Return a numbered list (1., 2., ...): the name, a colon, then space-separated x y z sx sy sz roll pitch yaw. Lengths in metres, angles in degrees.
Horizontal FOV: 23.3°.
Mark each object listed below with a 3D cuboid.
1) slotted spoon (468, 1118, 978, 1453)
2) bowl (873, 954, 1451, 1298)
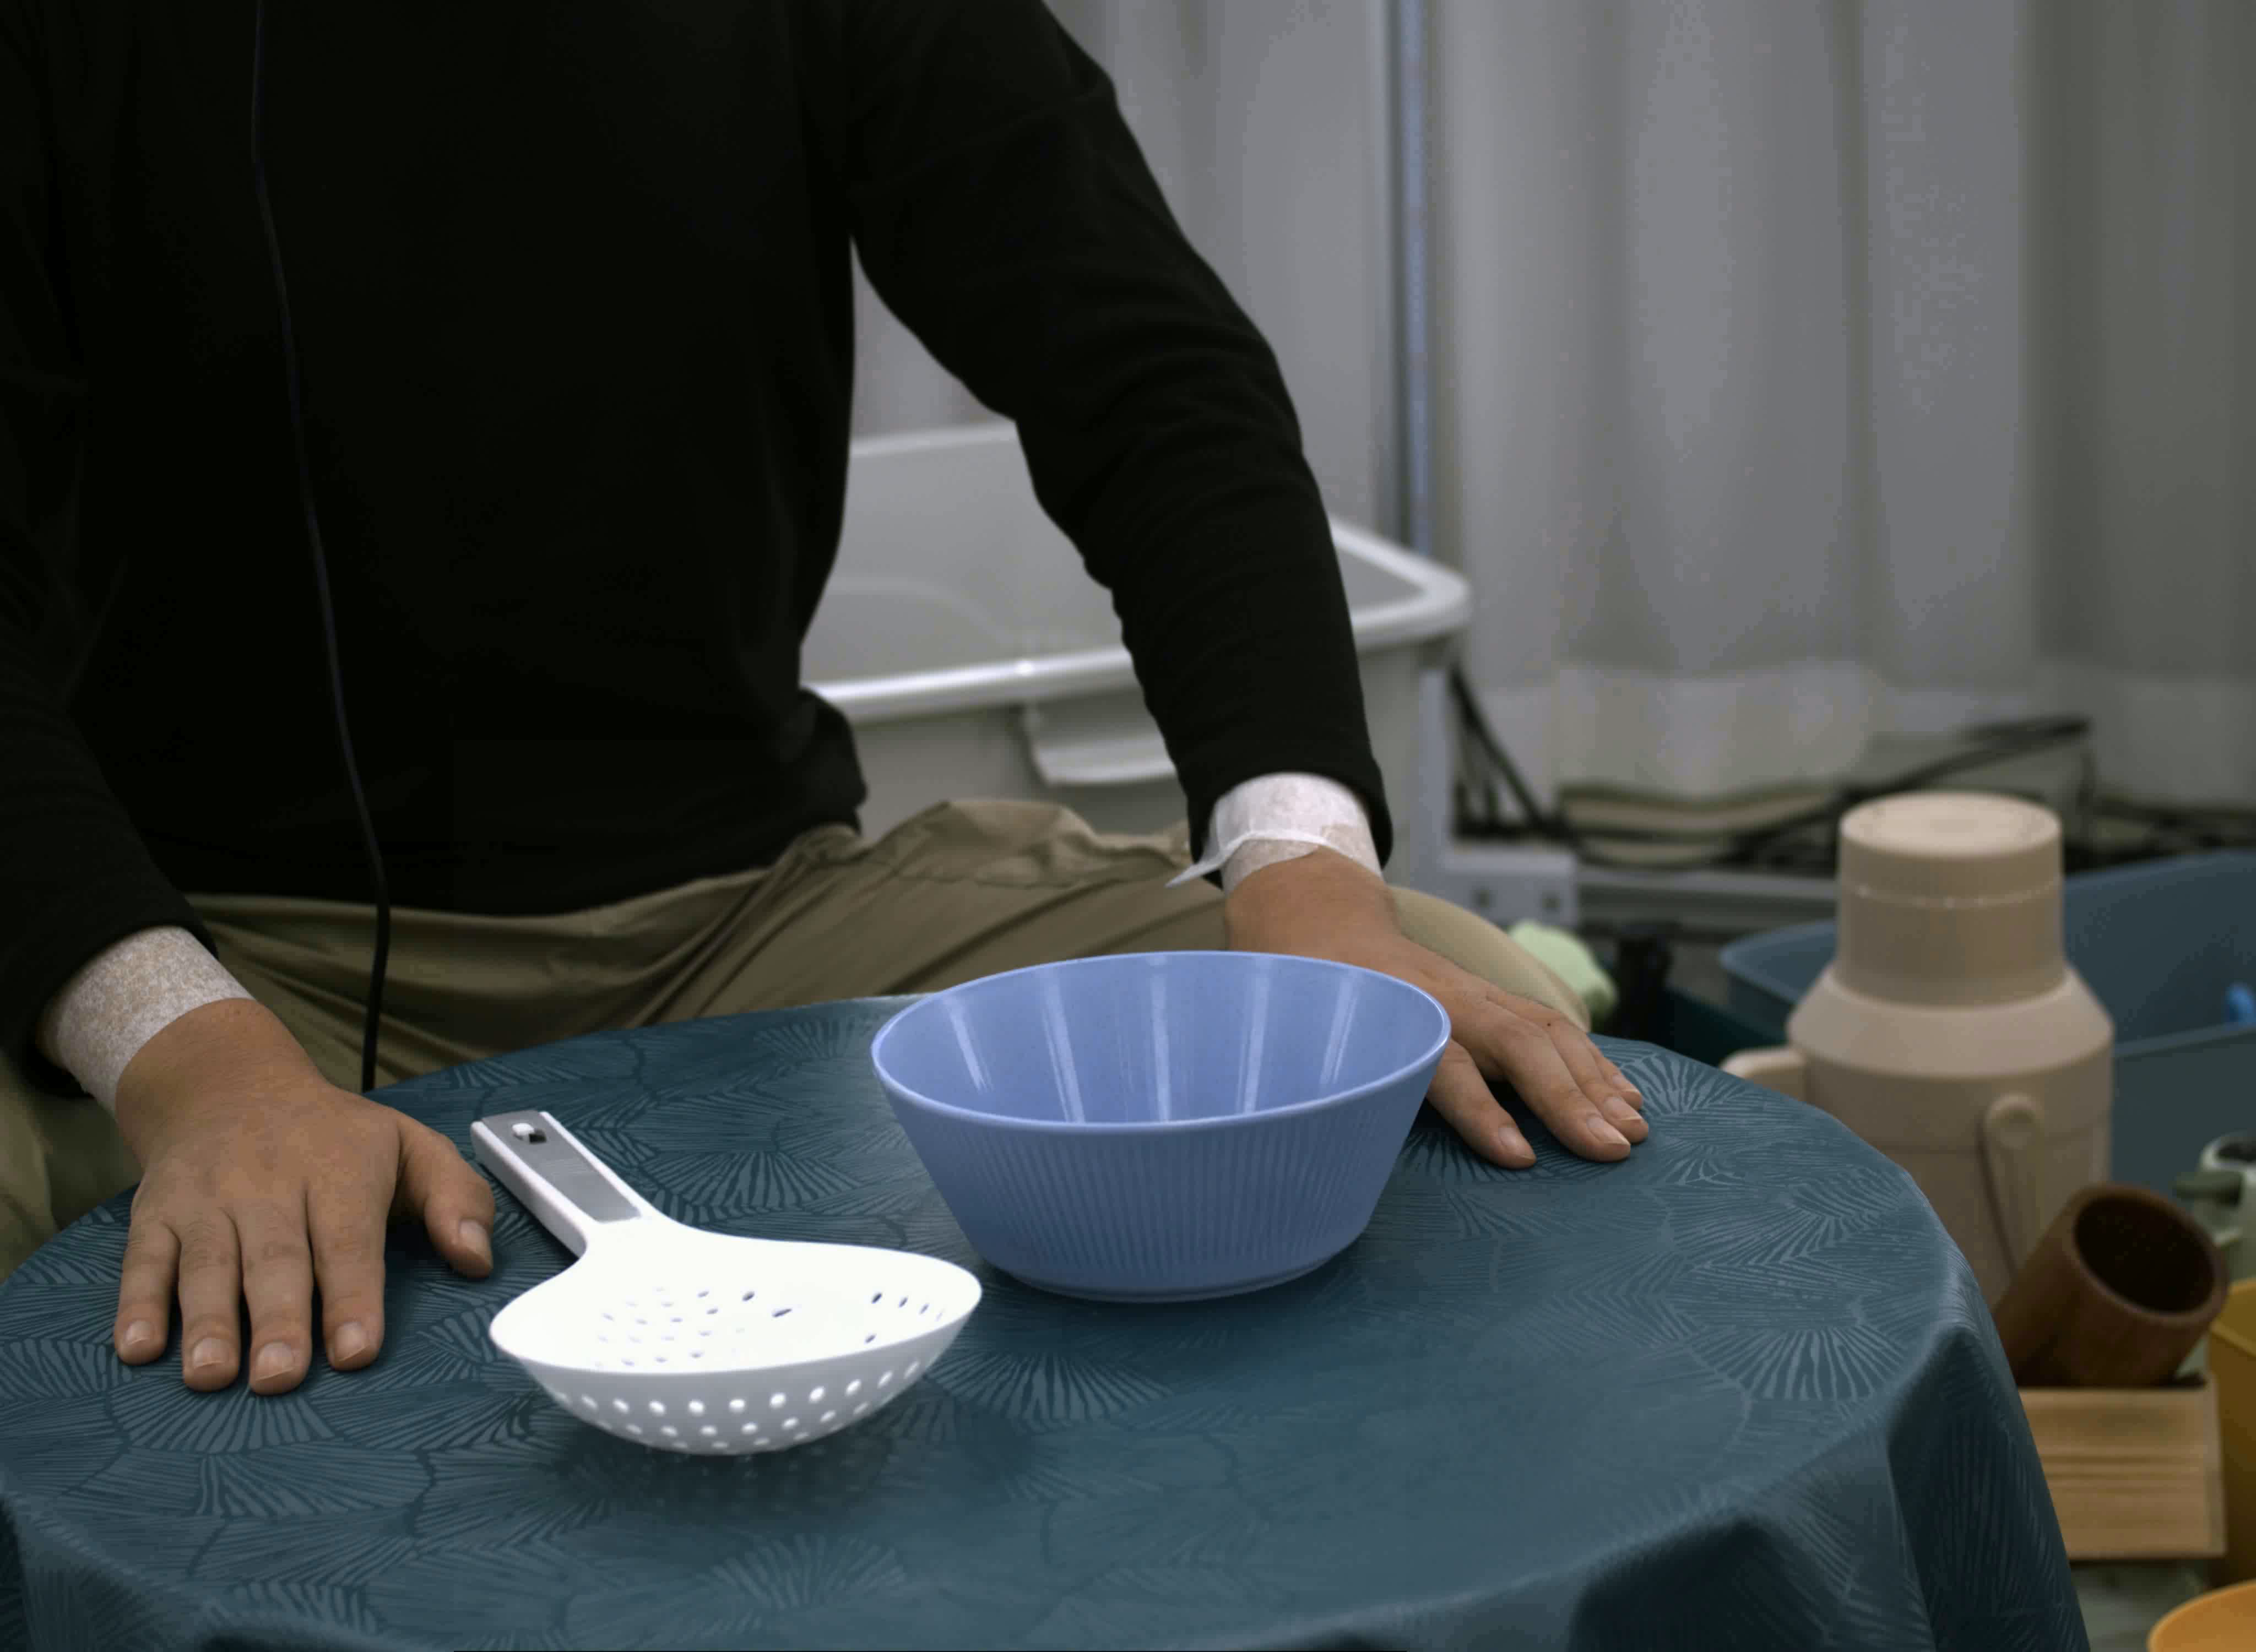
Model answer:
1. slotted spoon: -0.145 0.126 1.613 0.135 0.045 0.352 -8 14 -19
2. bowl: 0.011 0.093 1.656 0.175 0.070 0.177 -3 14 0
